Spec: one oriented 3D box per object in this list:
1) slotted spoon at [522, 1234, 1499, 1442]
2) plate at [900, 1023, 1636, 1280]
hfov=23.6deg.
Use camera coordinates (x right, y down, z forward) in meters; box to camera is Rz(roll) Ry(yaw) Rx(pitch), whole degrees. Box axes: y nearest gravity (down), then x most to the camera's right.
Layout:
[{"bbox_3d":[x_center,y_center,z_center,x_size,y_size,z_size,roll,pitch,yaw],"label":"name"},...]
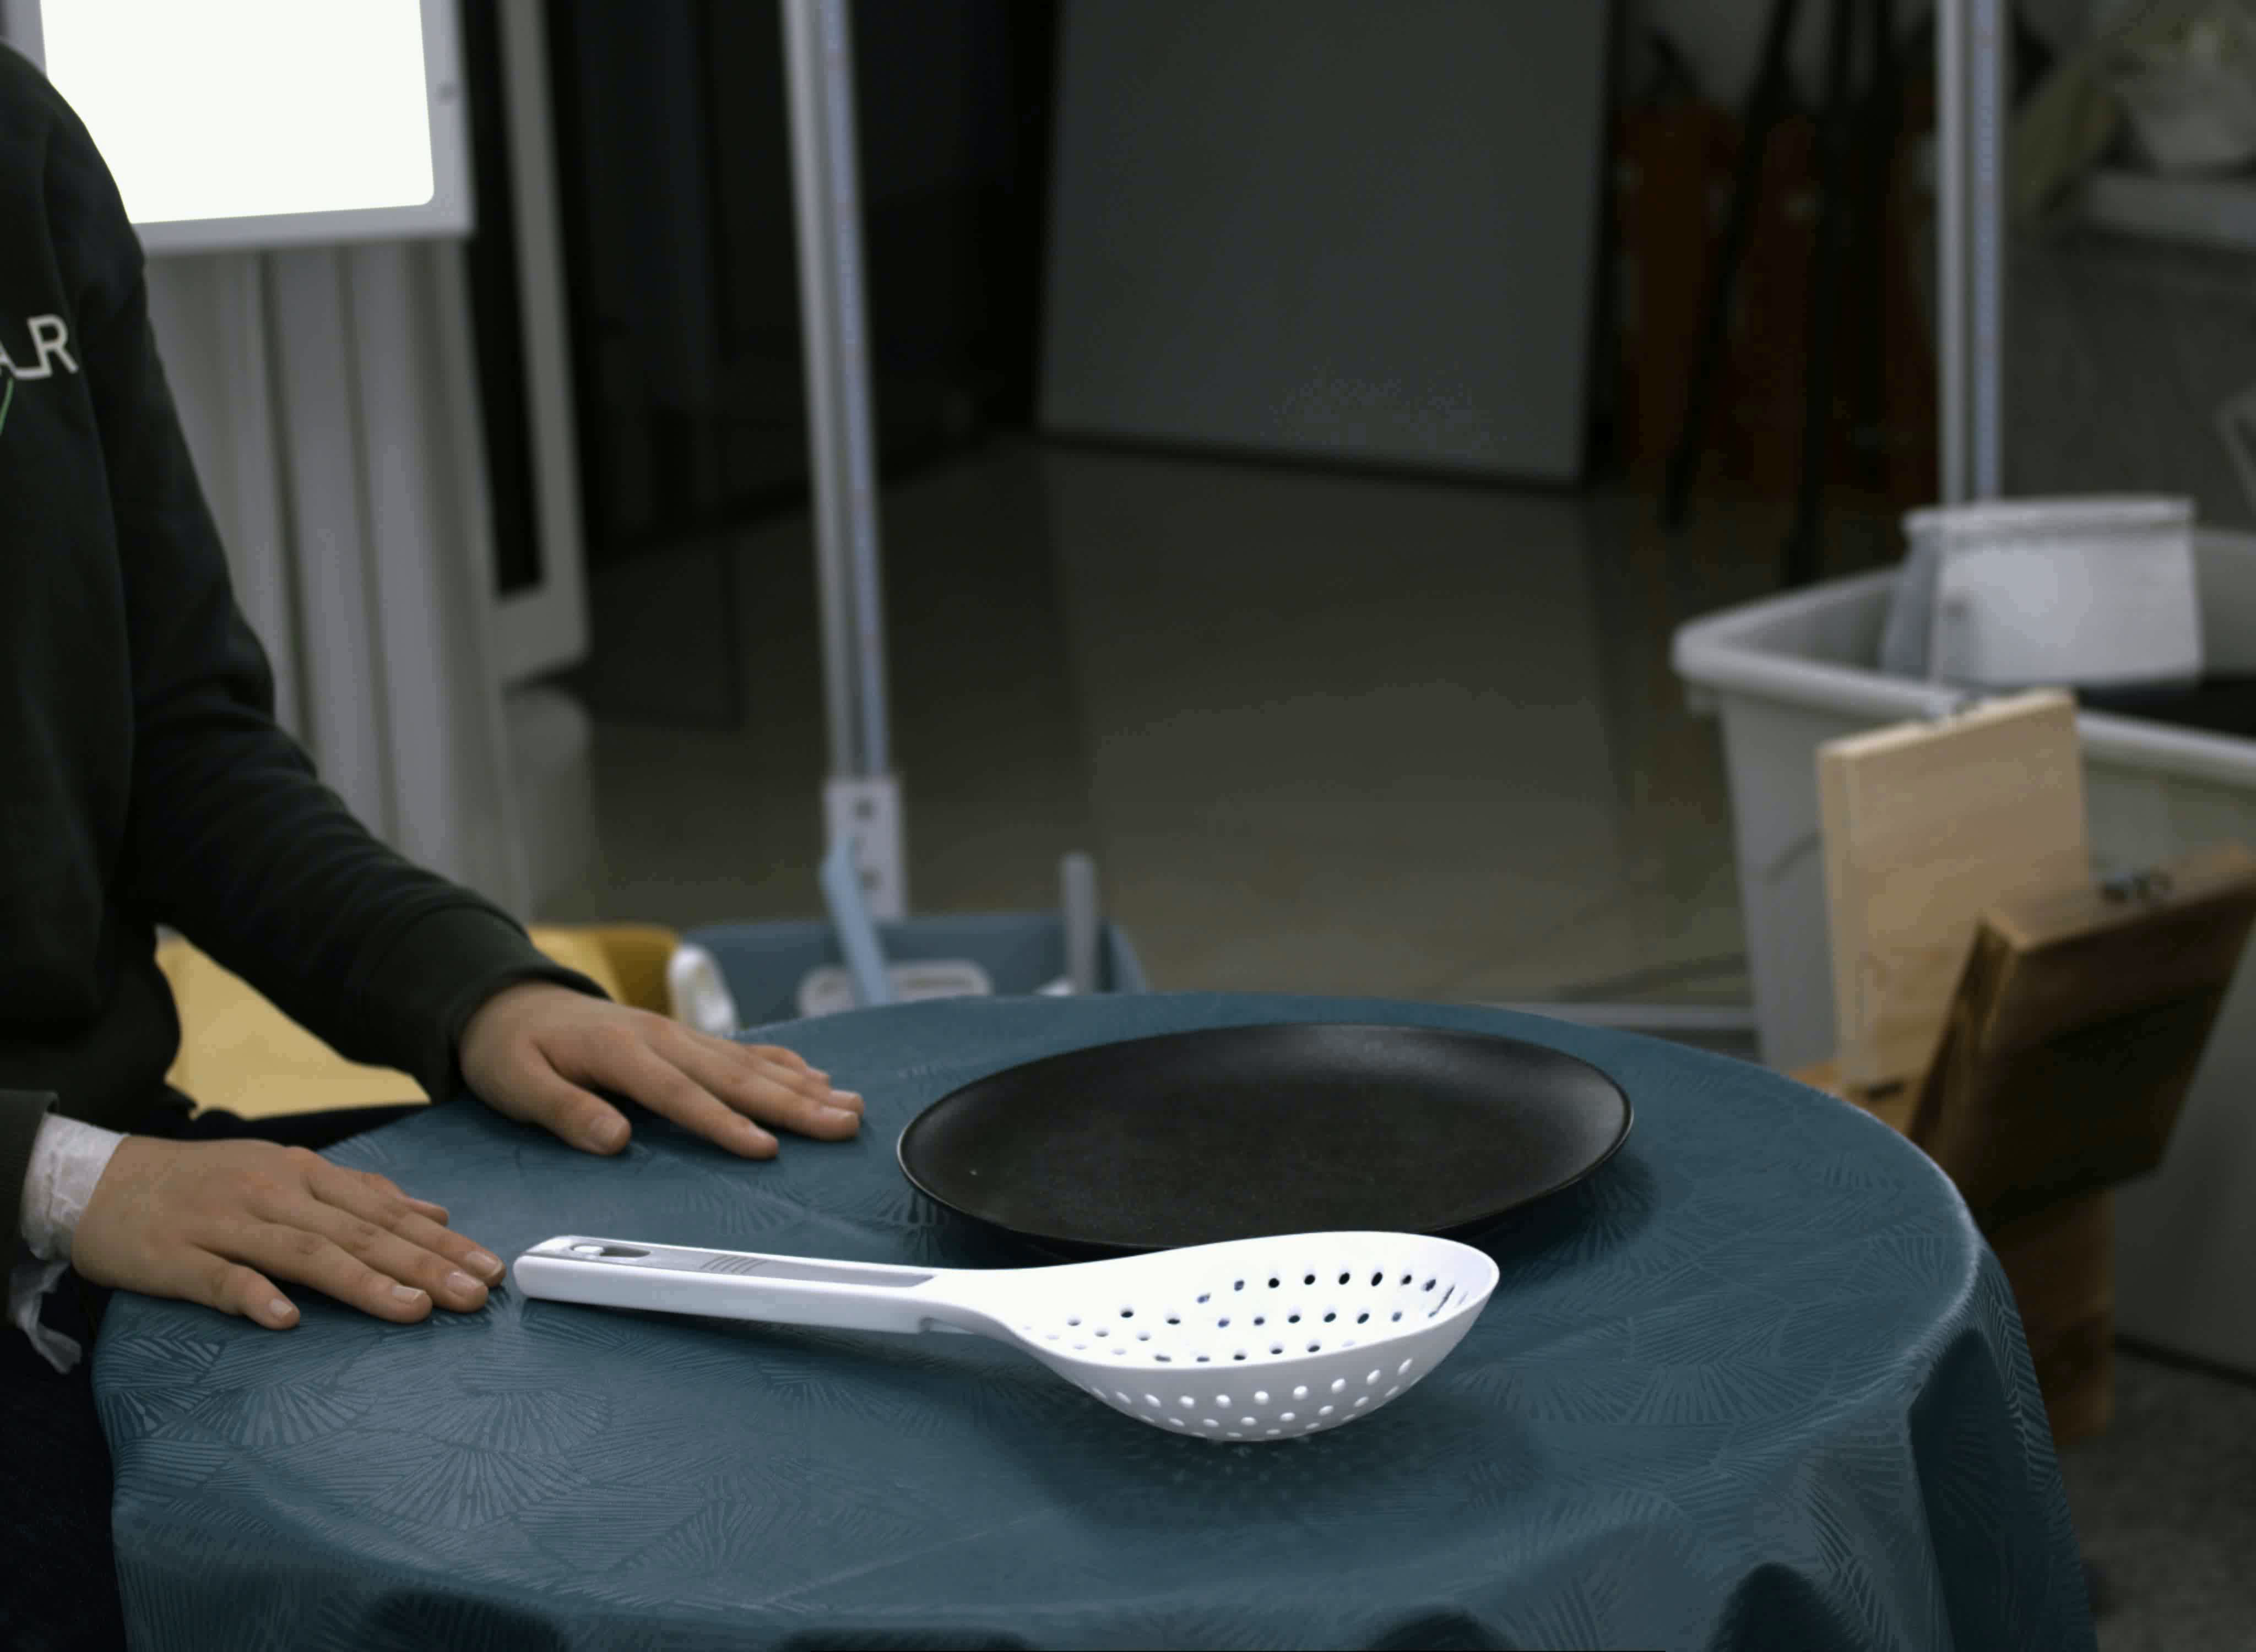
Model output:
[{"bbox_3d":[-0.046,0.142,1.606,0.352,0.046,0.133,5,14,37],"label":"slotted spoon"},{"bbox_3d":[0.046,0.109,1.759,0.241,0.024,0.245,-4,14,0],"label":"plate"}]
